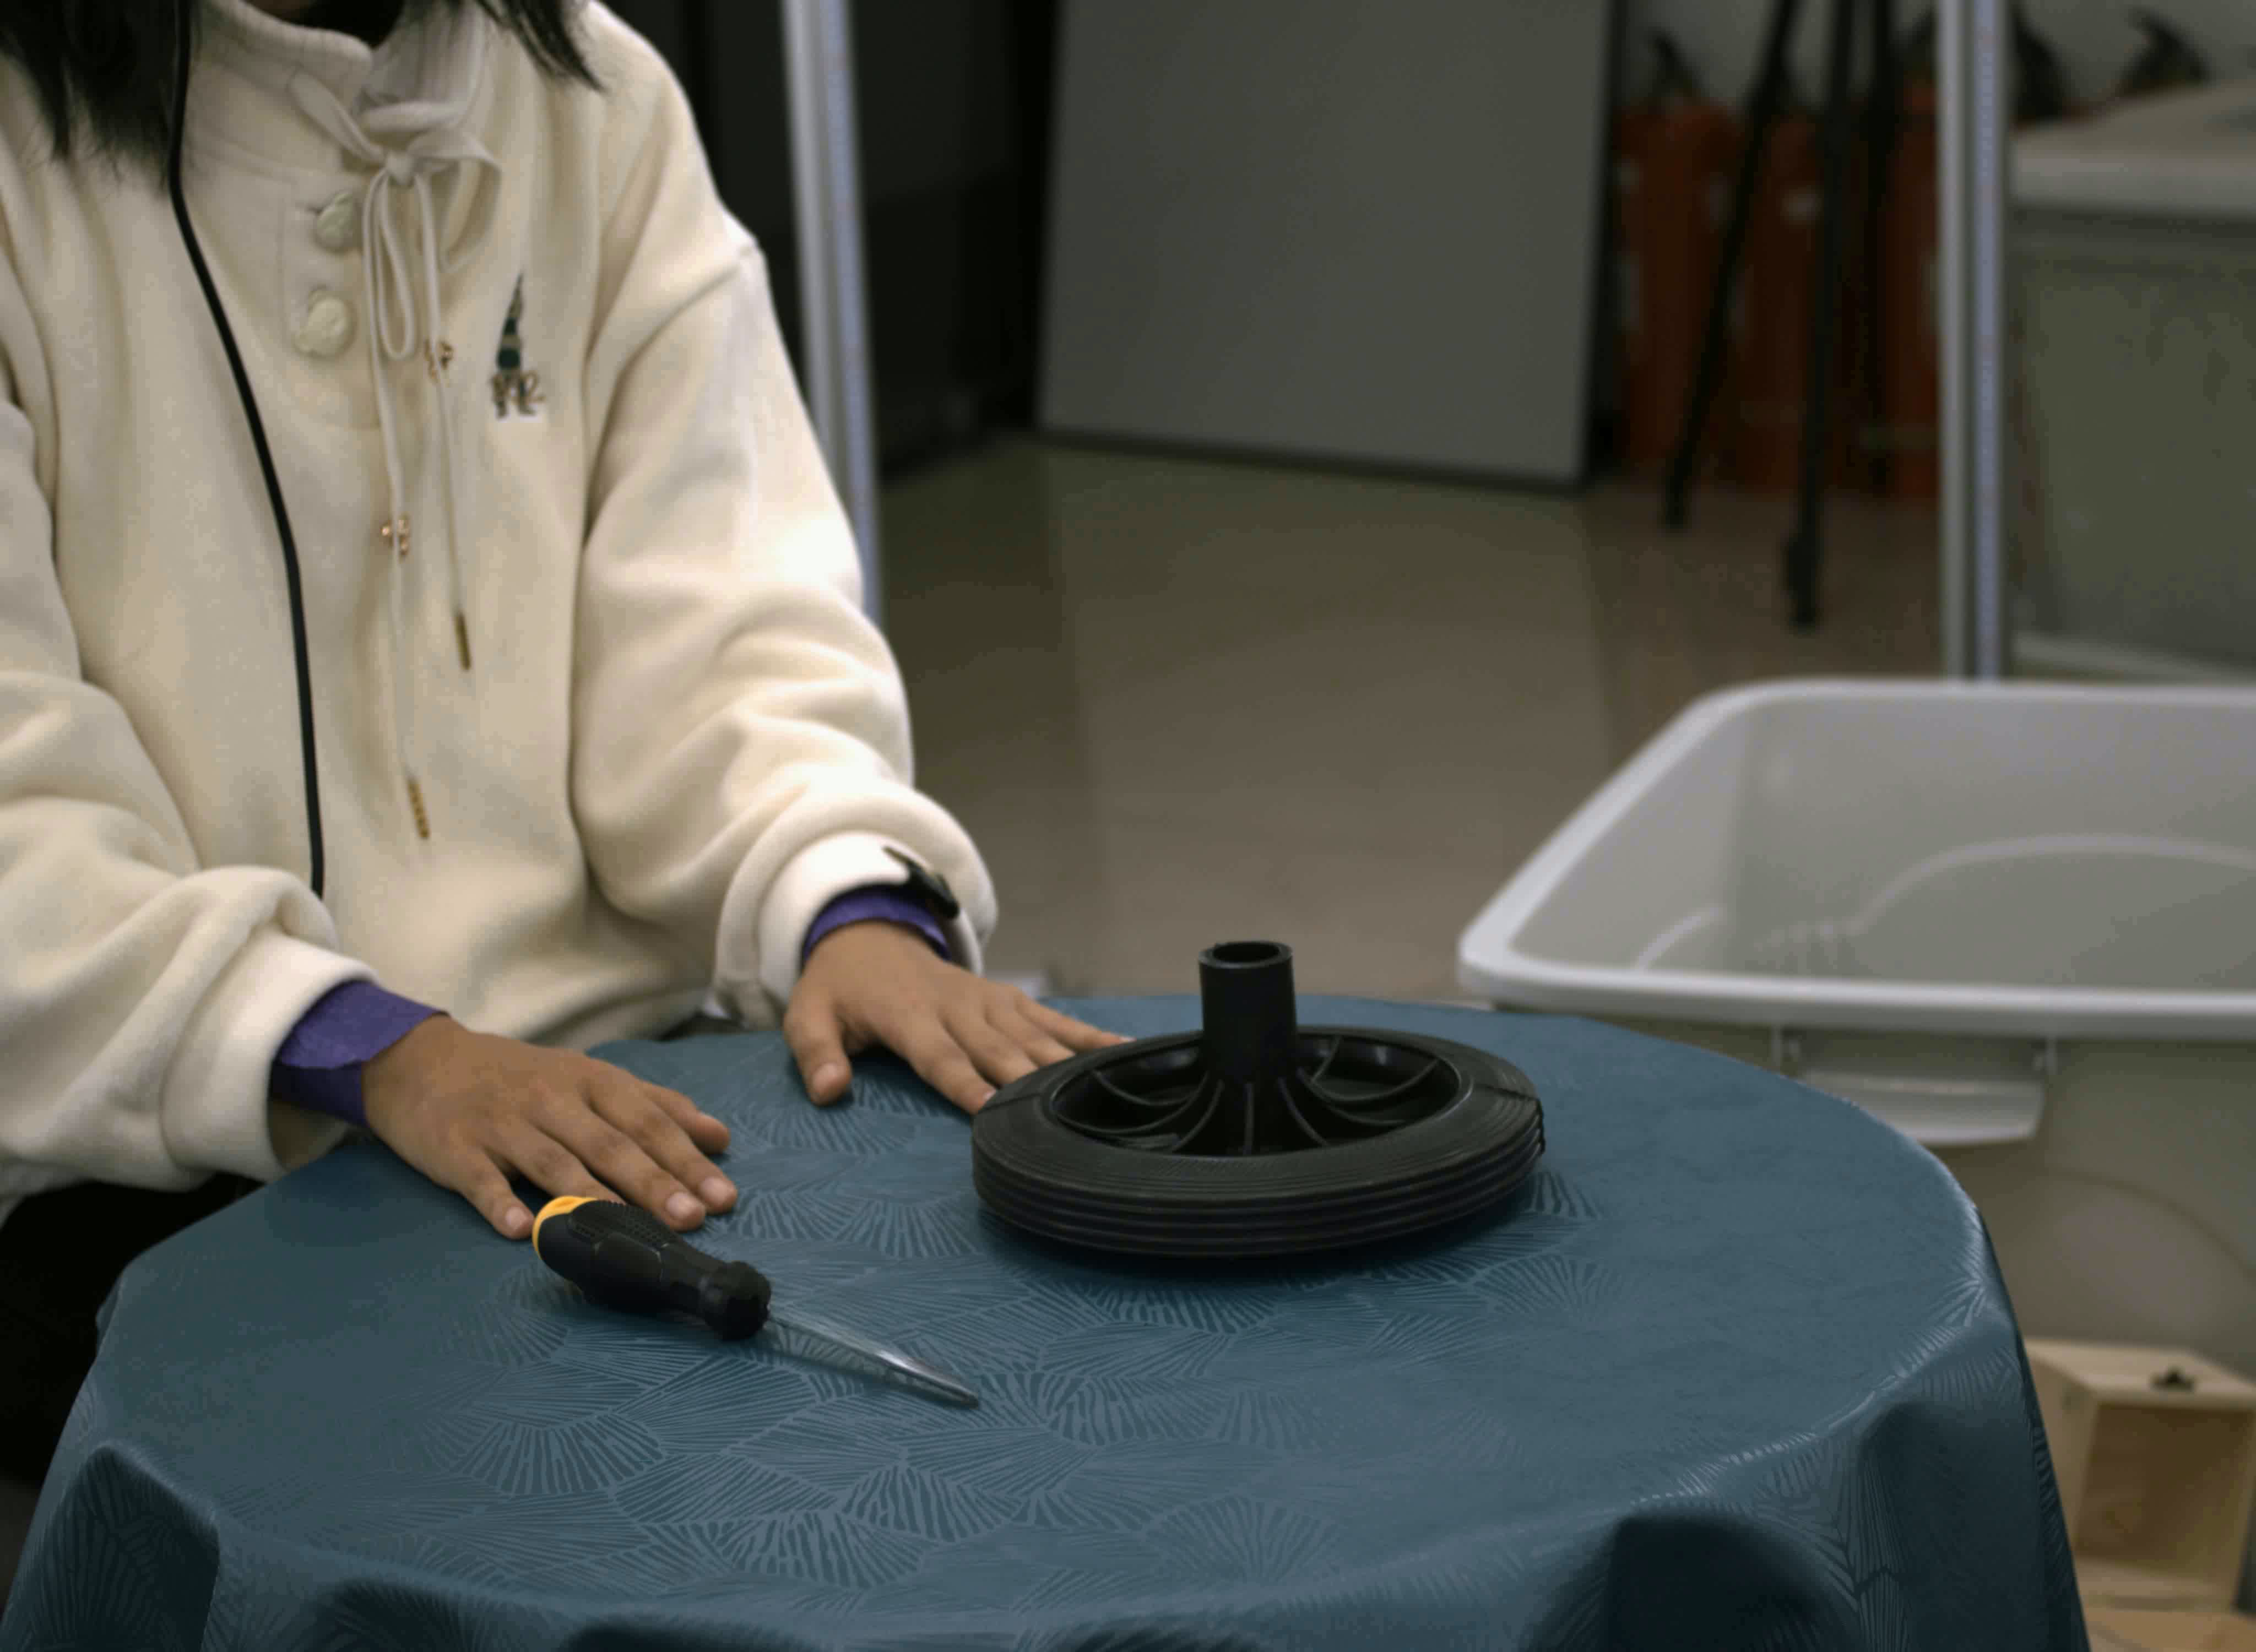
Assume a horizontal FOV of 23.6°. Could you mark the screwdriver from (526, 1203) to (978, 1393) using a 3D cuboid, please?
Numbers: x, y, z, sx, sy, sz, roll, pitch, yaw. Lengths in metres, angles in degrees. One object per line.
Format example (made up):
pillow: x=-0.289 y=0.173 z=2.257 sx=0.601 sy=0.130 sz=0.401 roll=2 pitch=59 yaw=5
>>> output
screwdriver: x=-0.118 y=0.148 z=1.647 sx=0.031 sy=0.032 sz=0.200 roll=-15 pitch=20 yaw=-40

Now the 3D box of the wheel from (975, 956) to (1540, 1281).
wheel: x=0.039 y=0.085 z=1.749 sx=0.189 sy=0.080 sz=0.186 roll=9 pitch=22 yaw=43
